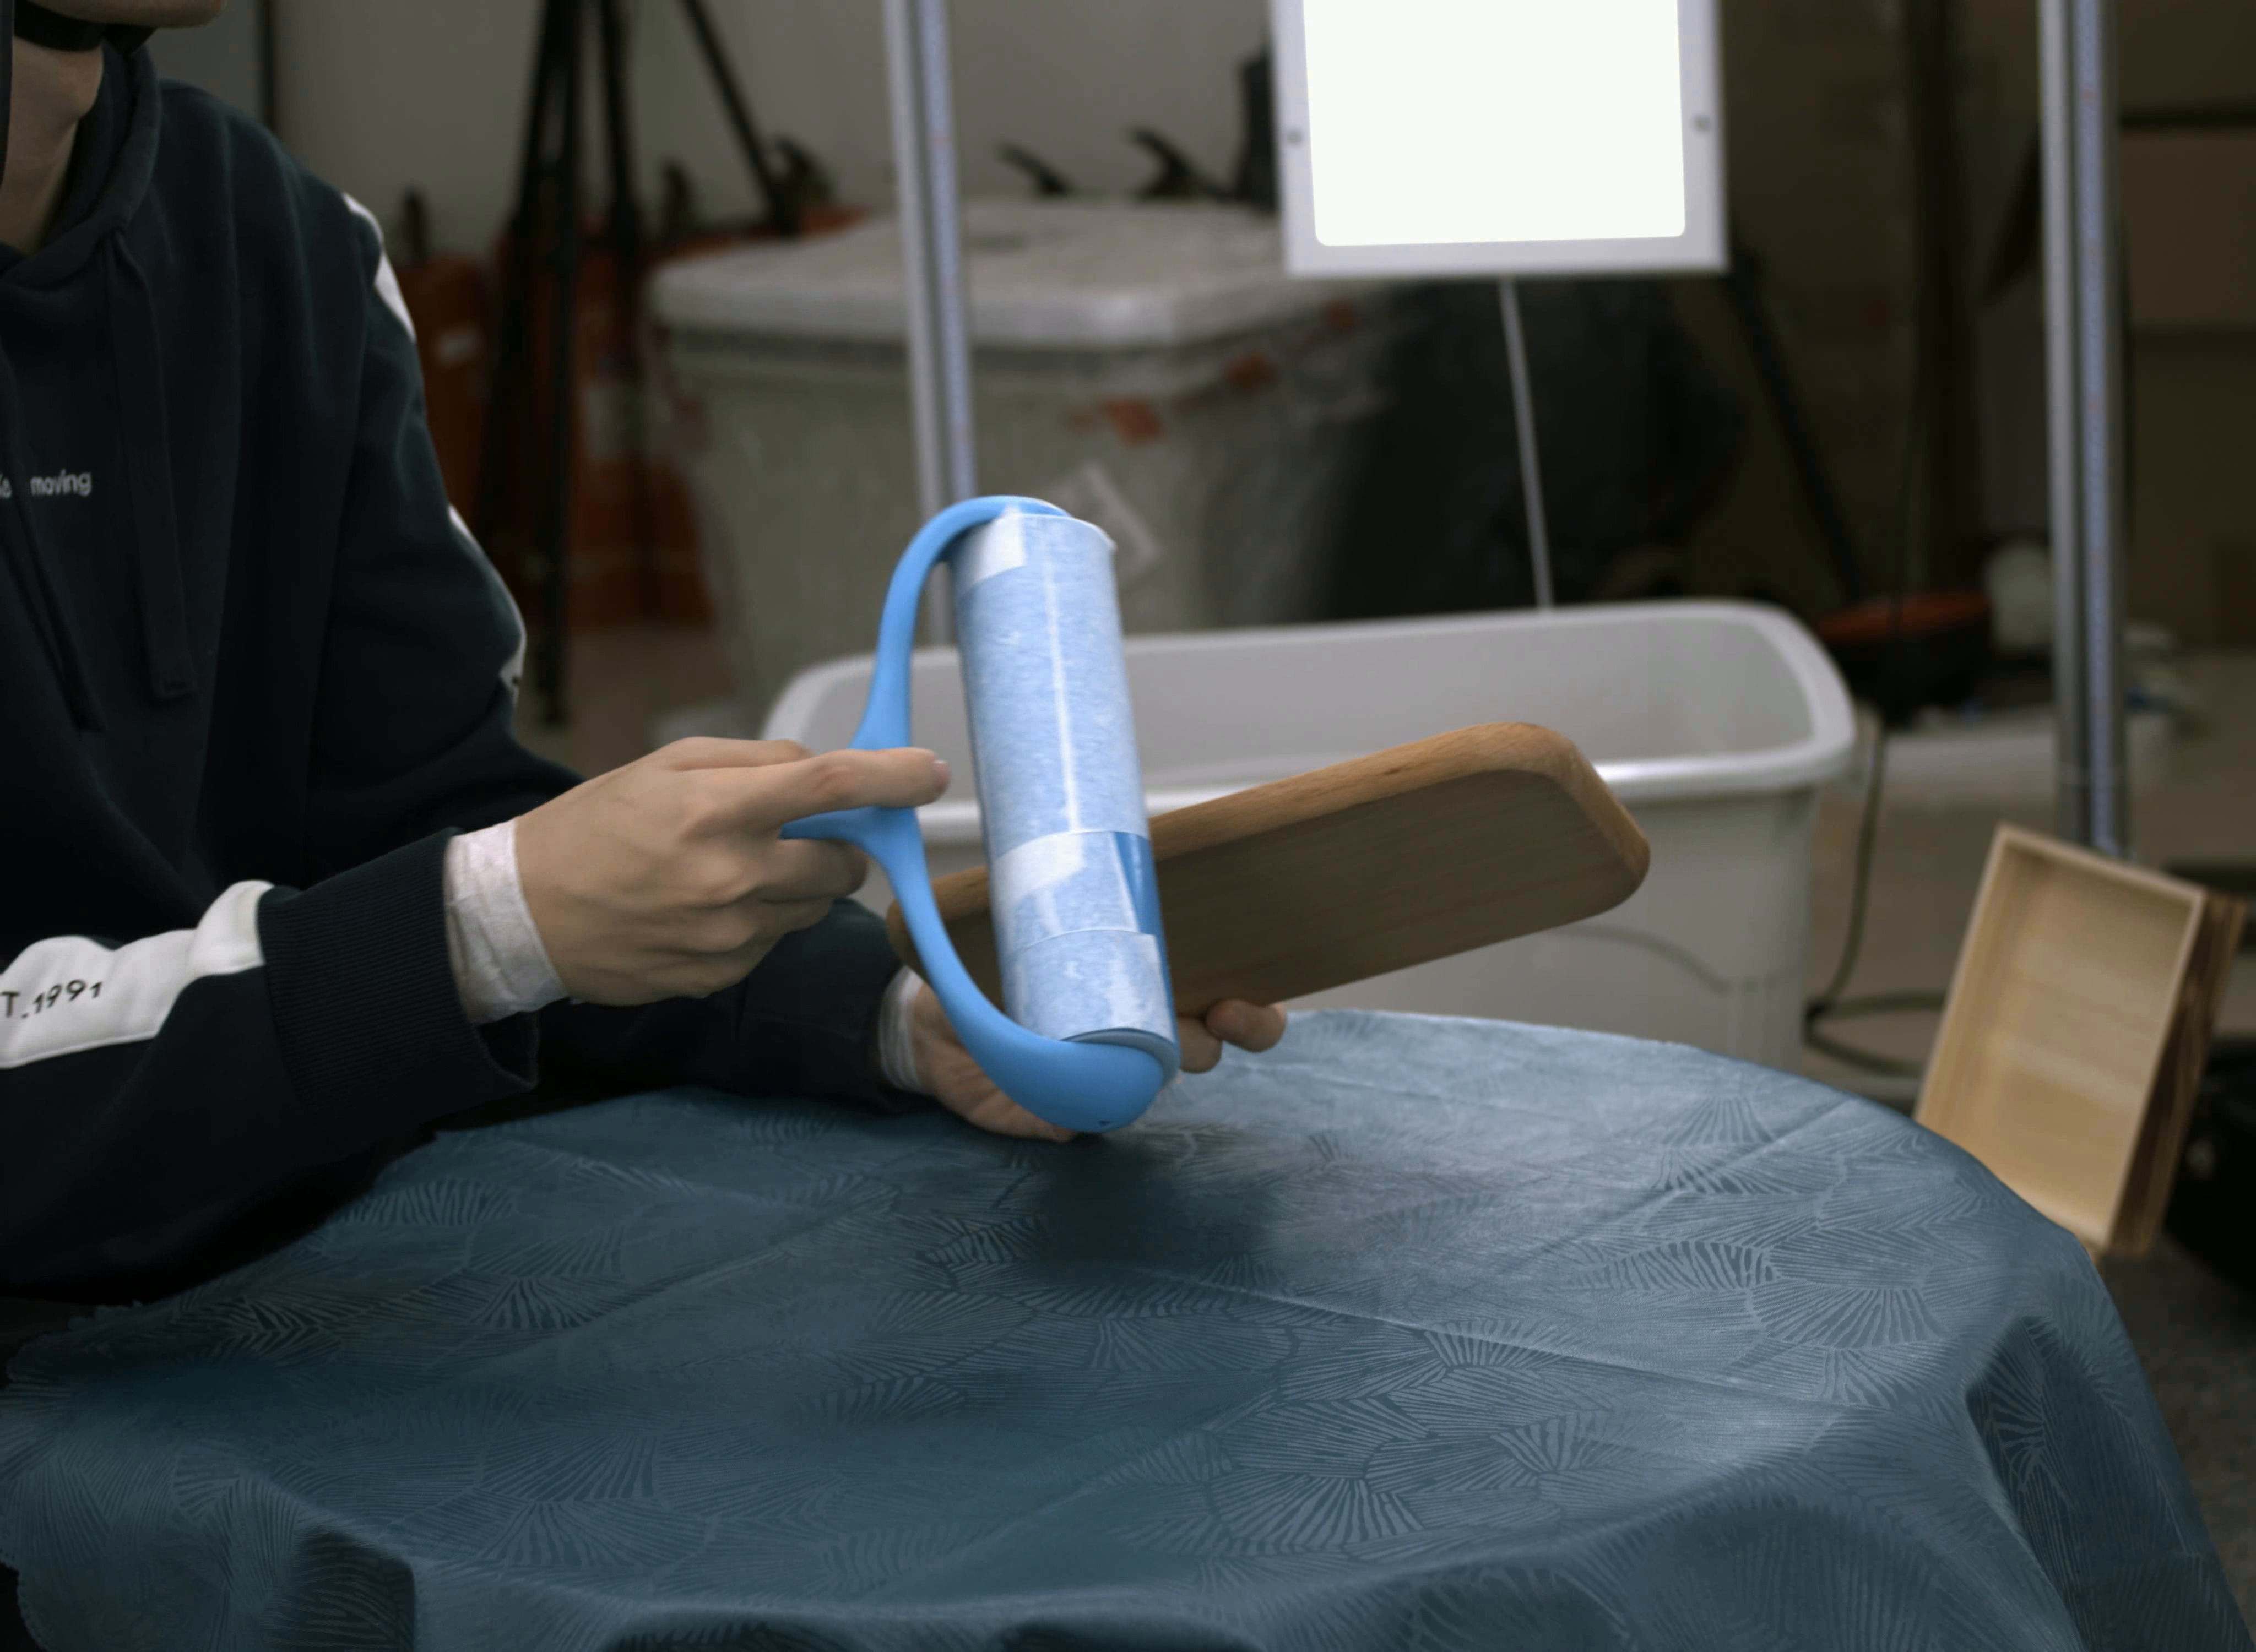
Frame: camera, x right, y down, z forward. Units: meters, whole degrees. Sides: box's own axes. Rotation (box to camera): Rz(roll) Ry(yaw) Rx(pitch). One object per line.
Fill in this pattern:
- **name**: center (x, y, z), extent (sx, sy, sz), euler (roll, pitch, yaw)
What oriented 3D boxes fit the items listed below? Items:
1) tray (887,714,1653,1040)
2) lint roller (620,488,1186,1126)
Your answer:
- **tray**: center (0.048, 0.025, 1.864), extent (0.254, 0.023, 0.129), euler (-18, -35, 21)
- **lint roller**: center (-0.080, 0.004, 1.764), extent (0.180, 0.229, 0.068), euler (-13, -28, 4)
